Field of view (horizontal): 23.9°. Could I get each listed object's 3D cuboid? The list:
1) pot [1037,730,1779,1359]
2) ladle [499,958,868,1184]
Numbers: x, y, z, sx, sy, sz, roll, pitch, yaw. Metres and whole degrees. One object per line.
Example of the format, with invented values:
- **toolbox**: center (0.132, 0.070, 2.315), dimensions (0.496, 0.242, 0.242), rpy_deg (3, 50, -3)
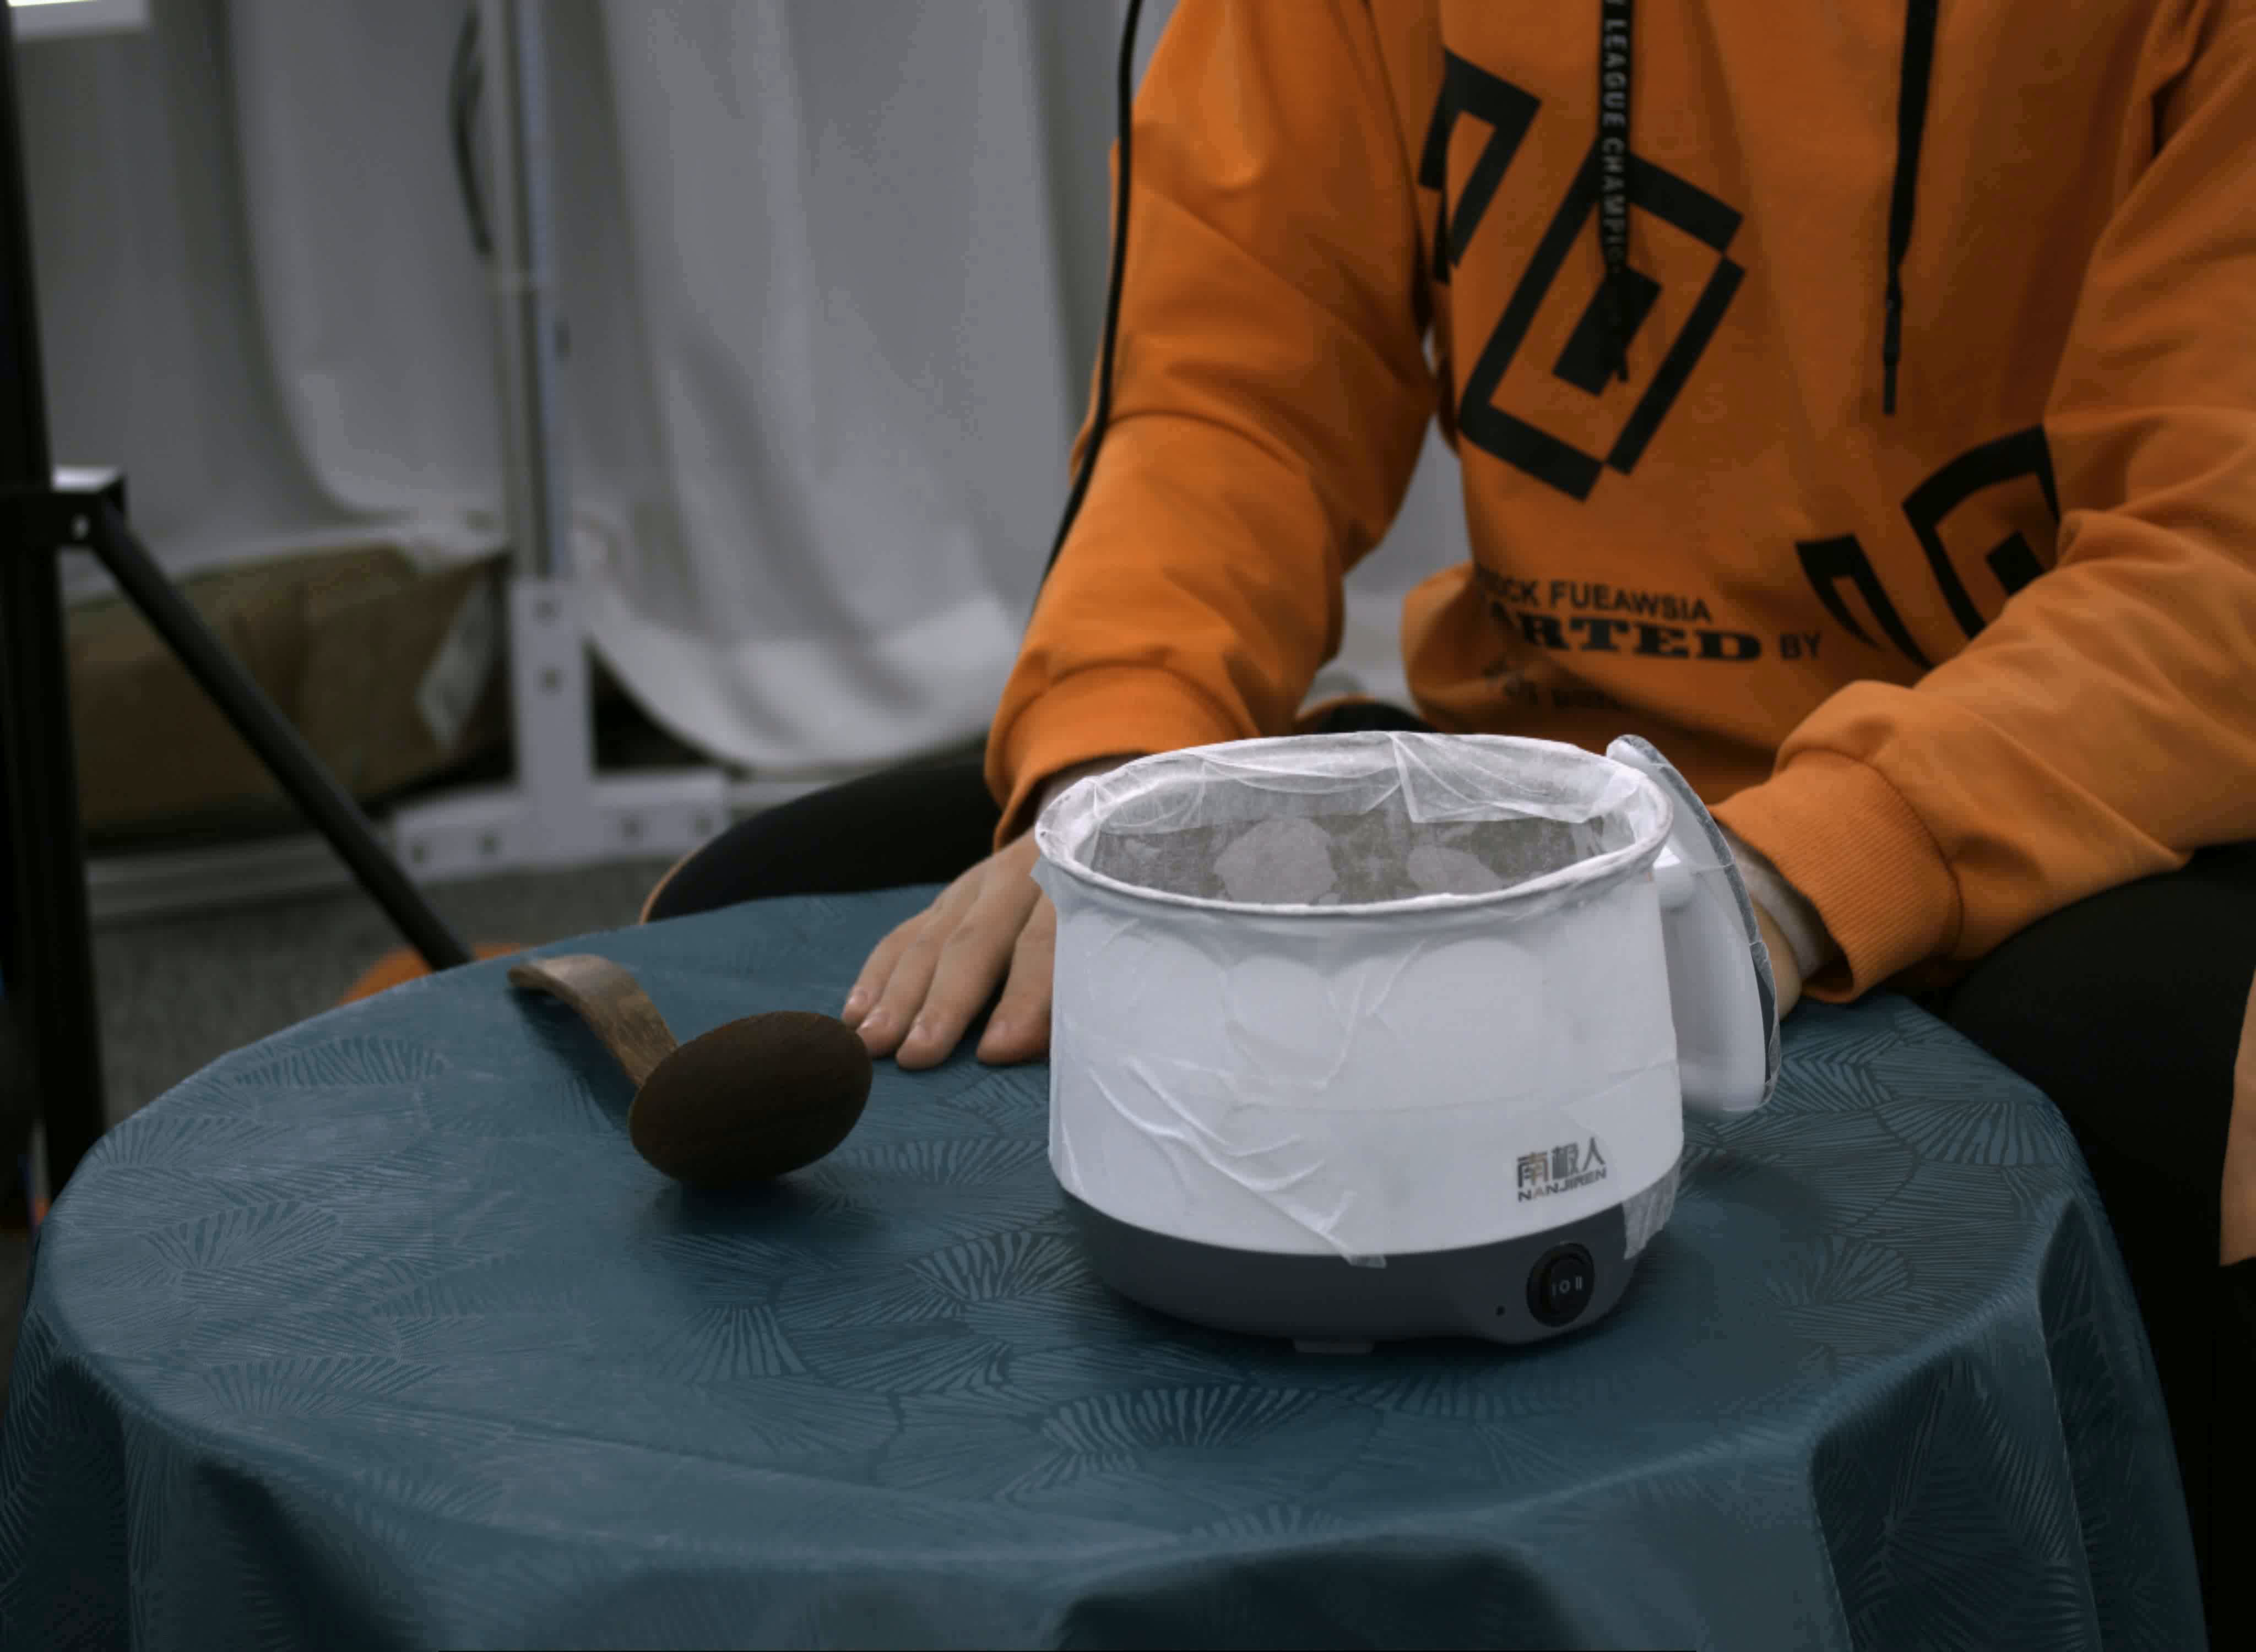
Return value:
- **pot**: center (0.087, 0.053, 1.487), dimensions (0.228, 0.136, 0.183), rpy_deg (-13, 19, -33)
- **ladle**: center (-0.150, 0.052, 1.653), dimensions (0.074, 0.071, 0.279), rpy_deg (-3, 16, -20)
